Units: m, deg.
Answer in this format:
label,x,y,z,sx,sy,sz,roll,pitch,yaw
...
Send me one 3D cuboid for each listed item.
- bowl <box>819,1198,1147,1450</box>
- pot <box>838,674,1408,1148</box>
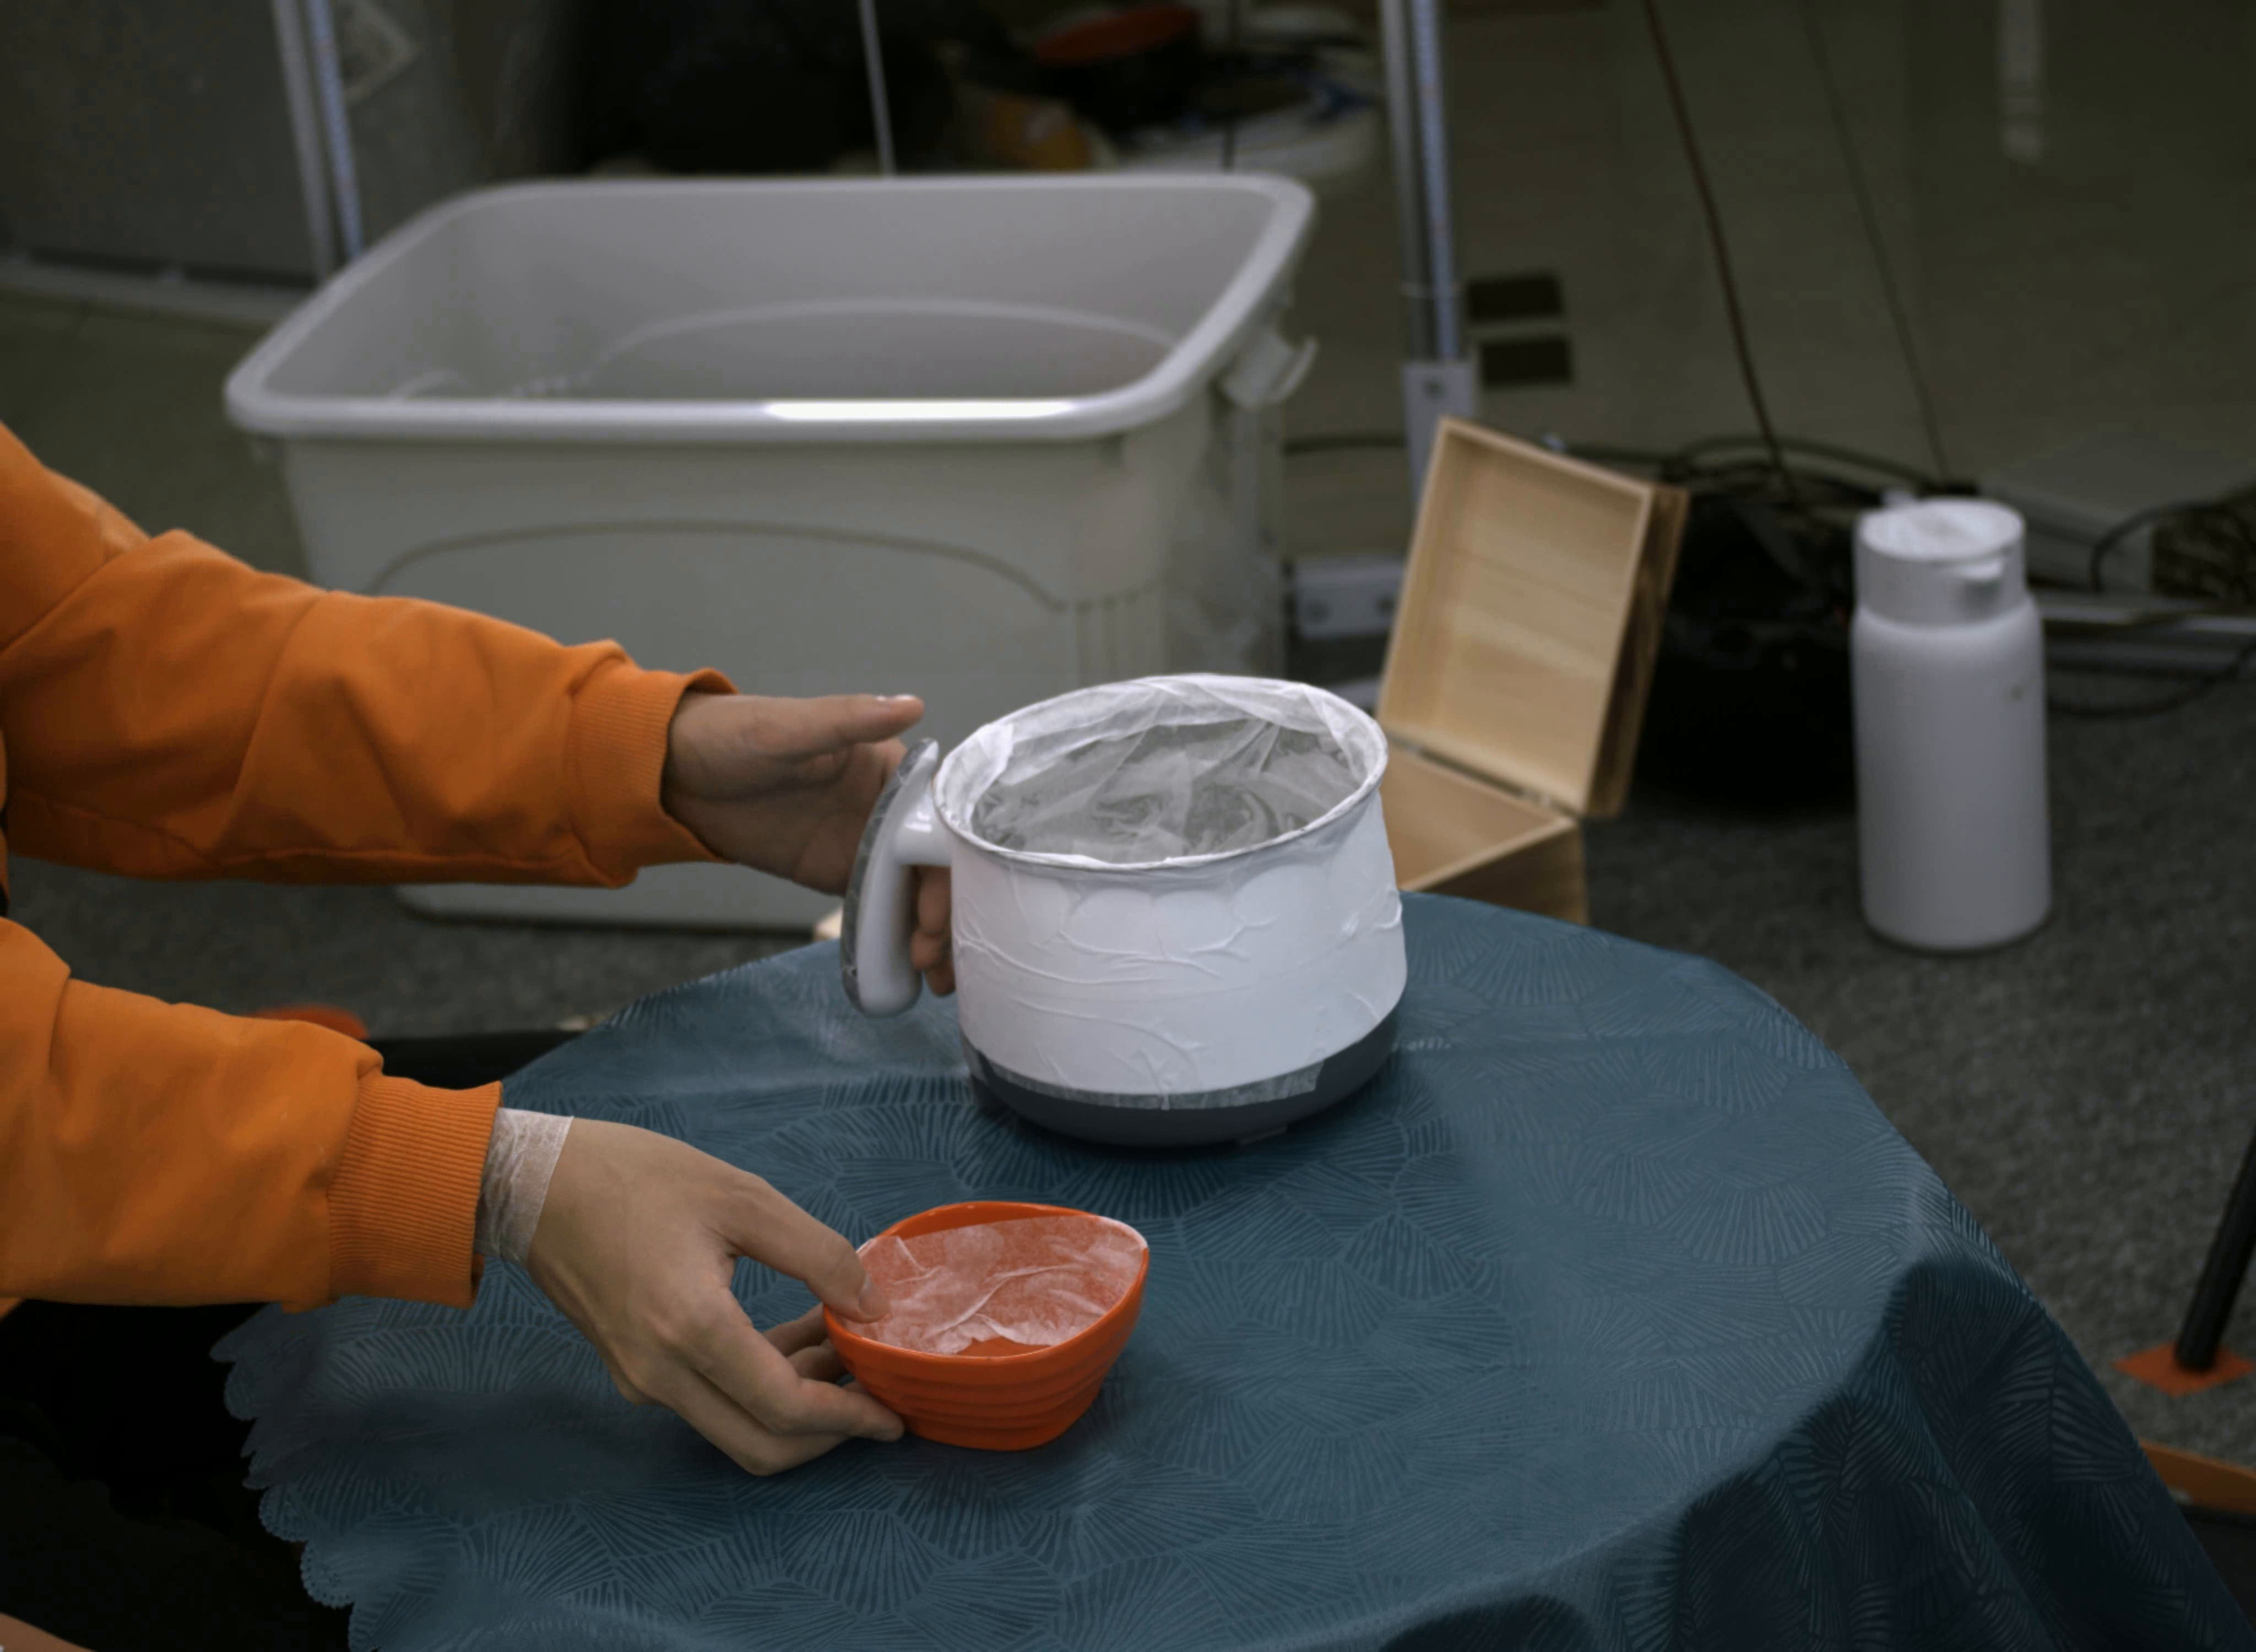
label,x,y,z,sx,sy,sz,roll,pitch,yaw
bowl,-0.049,0.181,2.007,0.119,0.052,0.117,-4,27,2
pot,-0.007,0.033,2.211,0.233,0.139,0.176,4,27,21
